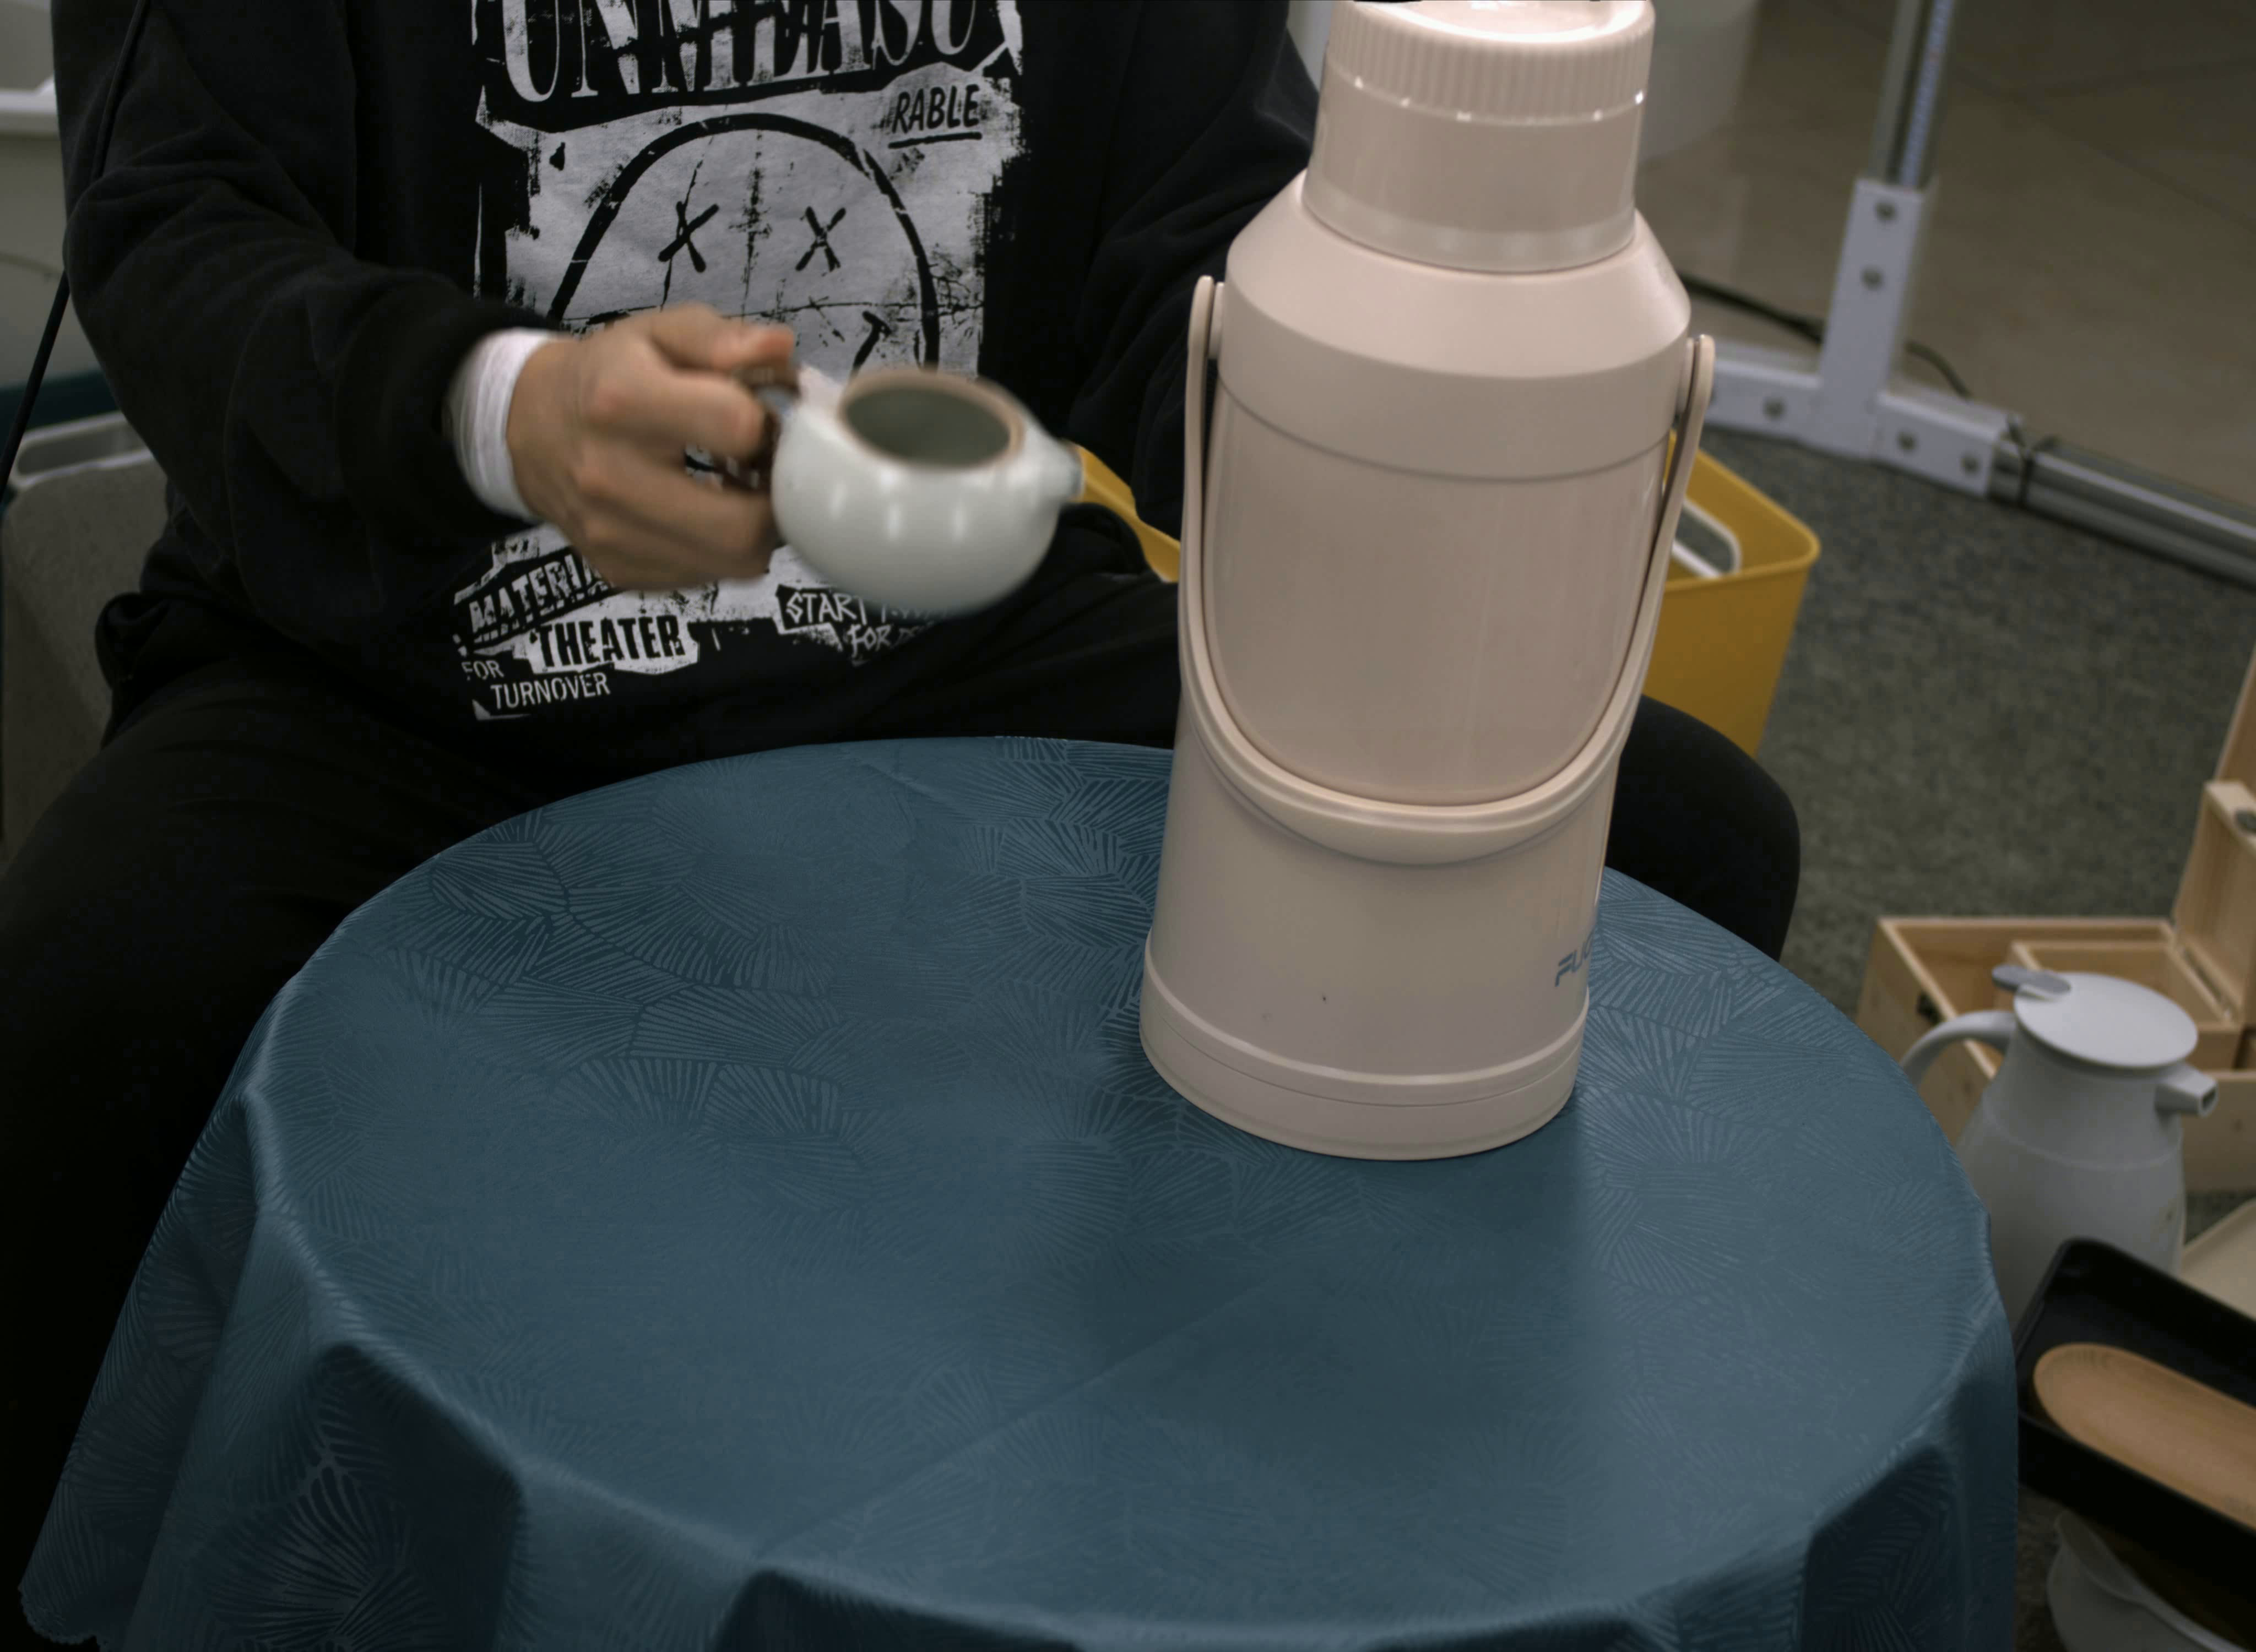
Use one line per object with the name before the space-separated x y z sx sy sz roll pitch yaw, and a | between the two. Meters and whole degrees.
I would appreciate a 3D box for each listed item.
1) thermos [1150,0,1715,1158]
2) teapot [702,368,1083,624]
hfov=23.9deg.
thermos | 0.105 -0.102 1.834 0.175 0.405 0.208 5 27 2
teapot | -0.077 -0.106 1.685 0.128 0.059 0.092 21 37 11
